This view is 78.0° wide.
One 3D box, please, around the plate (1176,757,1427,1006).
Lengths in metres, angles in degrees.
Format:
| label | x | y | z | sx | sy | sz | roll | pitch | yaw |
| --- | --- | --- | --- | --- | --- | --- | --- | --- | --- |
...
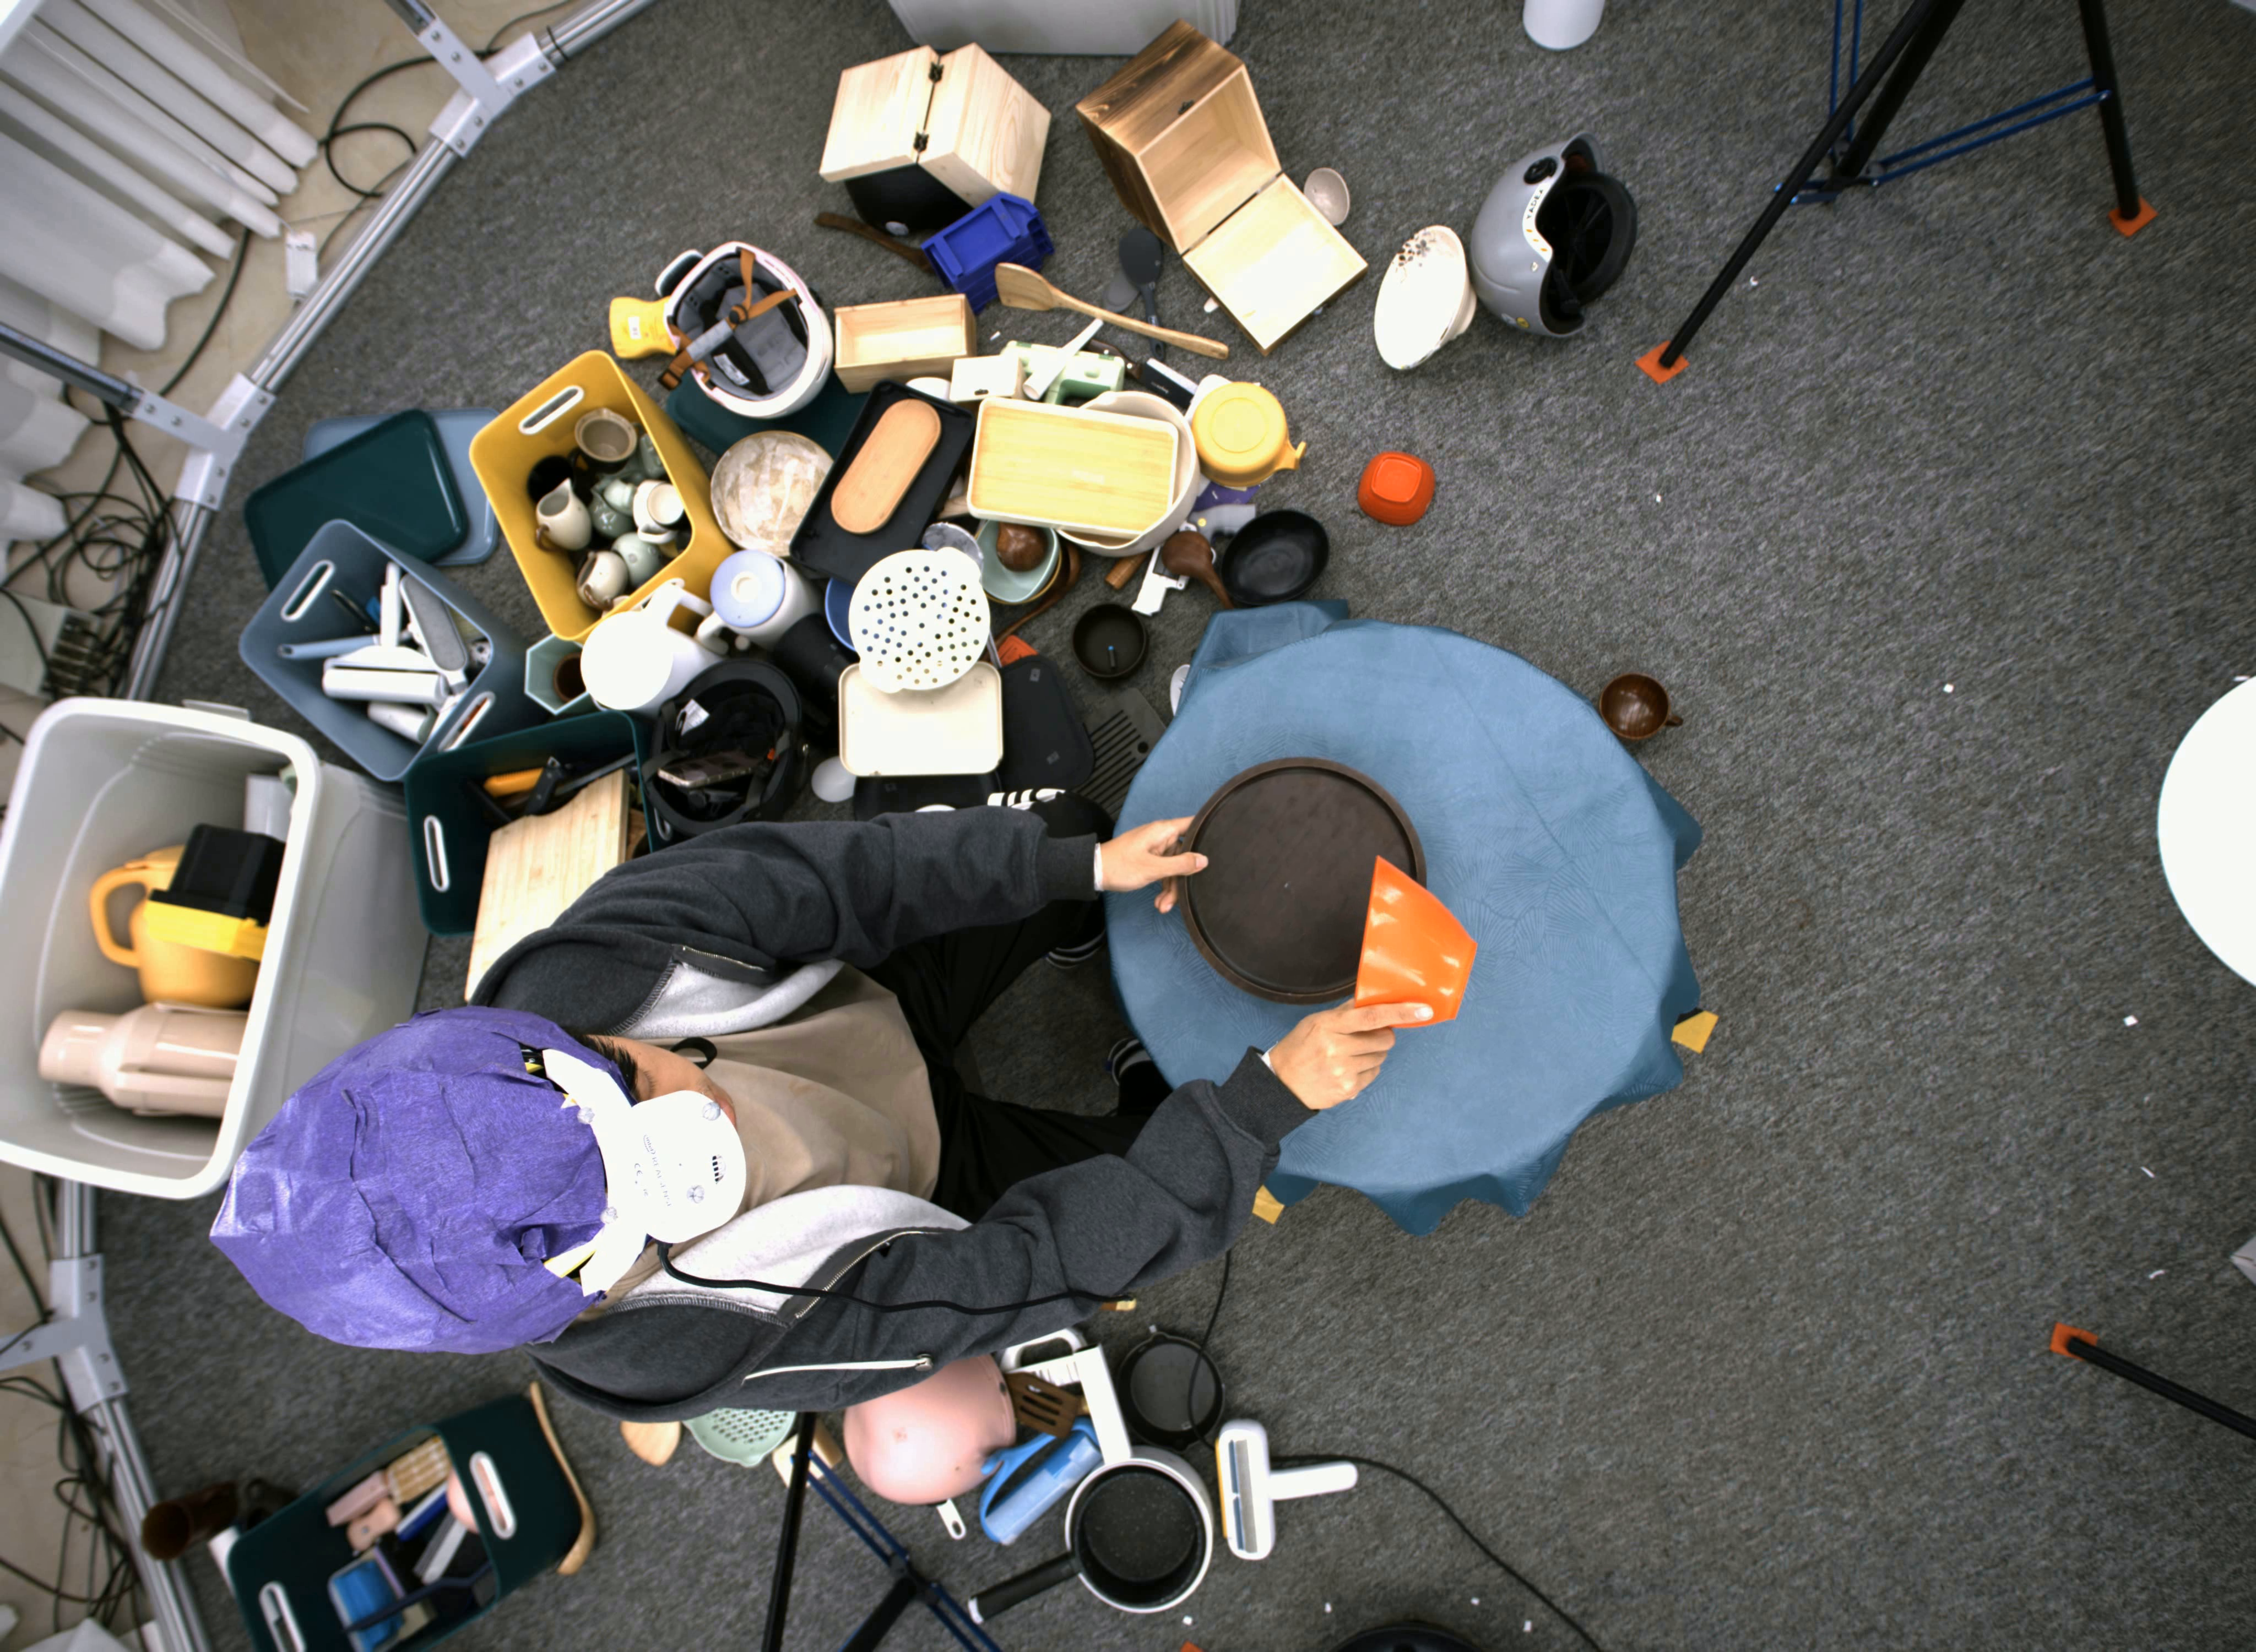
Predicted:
| label | x | y | z | sx | sy | sz | roll | pitch | yaw |
| --- | --- | --- | --- | --- | --- | --- | --- | --- | --- |
| plate | 0.176 | 0.055 | 1.407 | 0.255 | 0.029 | 0.254 | 0 | 89 | 7 |

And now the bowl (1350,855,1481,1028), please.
| label | x | y | z | sx | sy | sz | roll | pitch | yaw |
| --- | --- | --- | --- | --- | --- | --- | --- | --- | --- |
| bowl | 0.244 | 0.108 | 1.181 | 0.104 | 0.148 | 0.148 | 18 | 88 | 14 |
